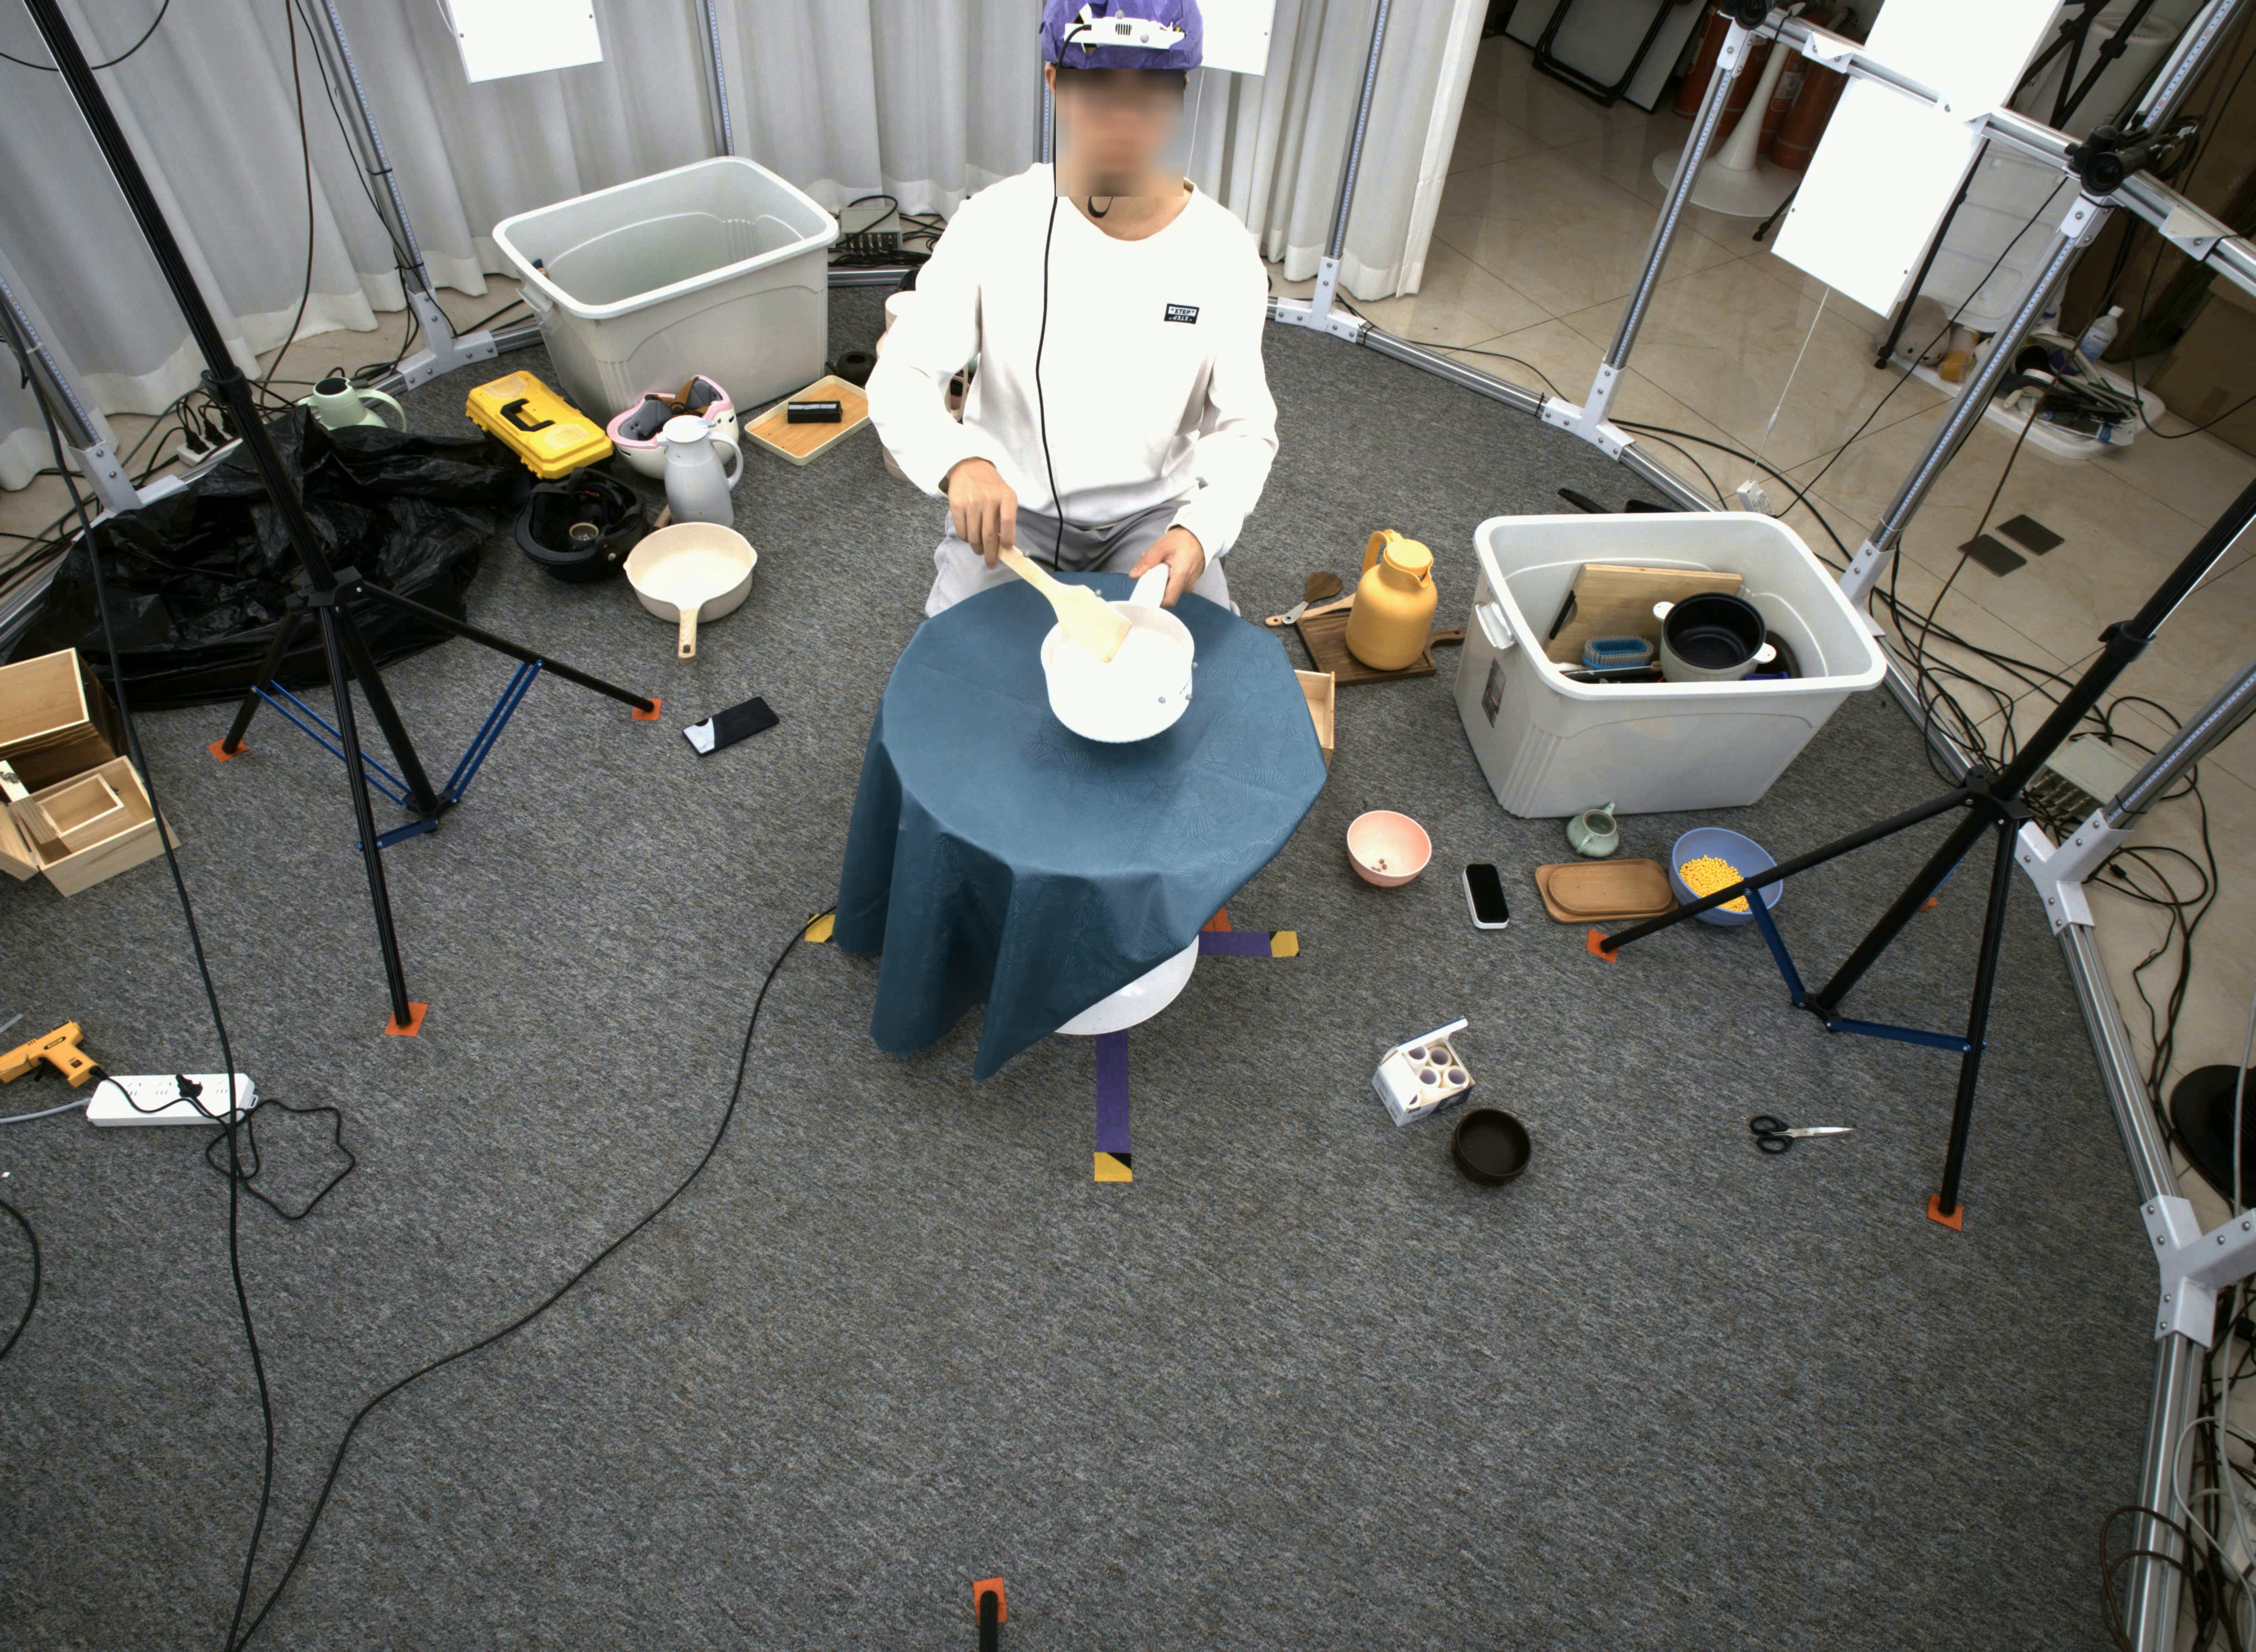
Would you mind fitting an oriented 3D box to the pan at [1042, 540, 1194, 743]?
[{"bbox_3d":[0.012,-0.256,1.771,0.202,0.099,0.362,10,47,14],"label":"pan"}]

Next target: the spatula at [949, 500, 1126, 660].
[{"bbox_3d":[-0.125,-0.331,1.679,0.295,0.071,0.011,41,35,12],"label":"spatula"}]
